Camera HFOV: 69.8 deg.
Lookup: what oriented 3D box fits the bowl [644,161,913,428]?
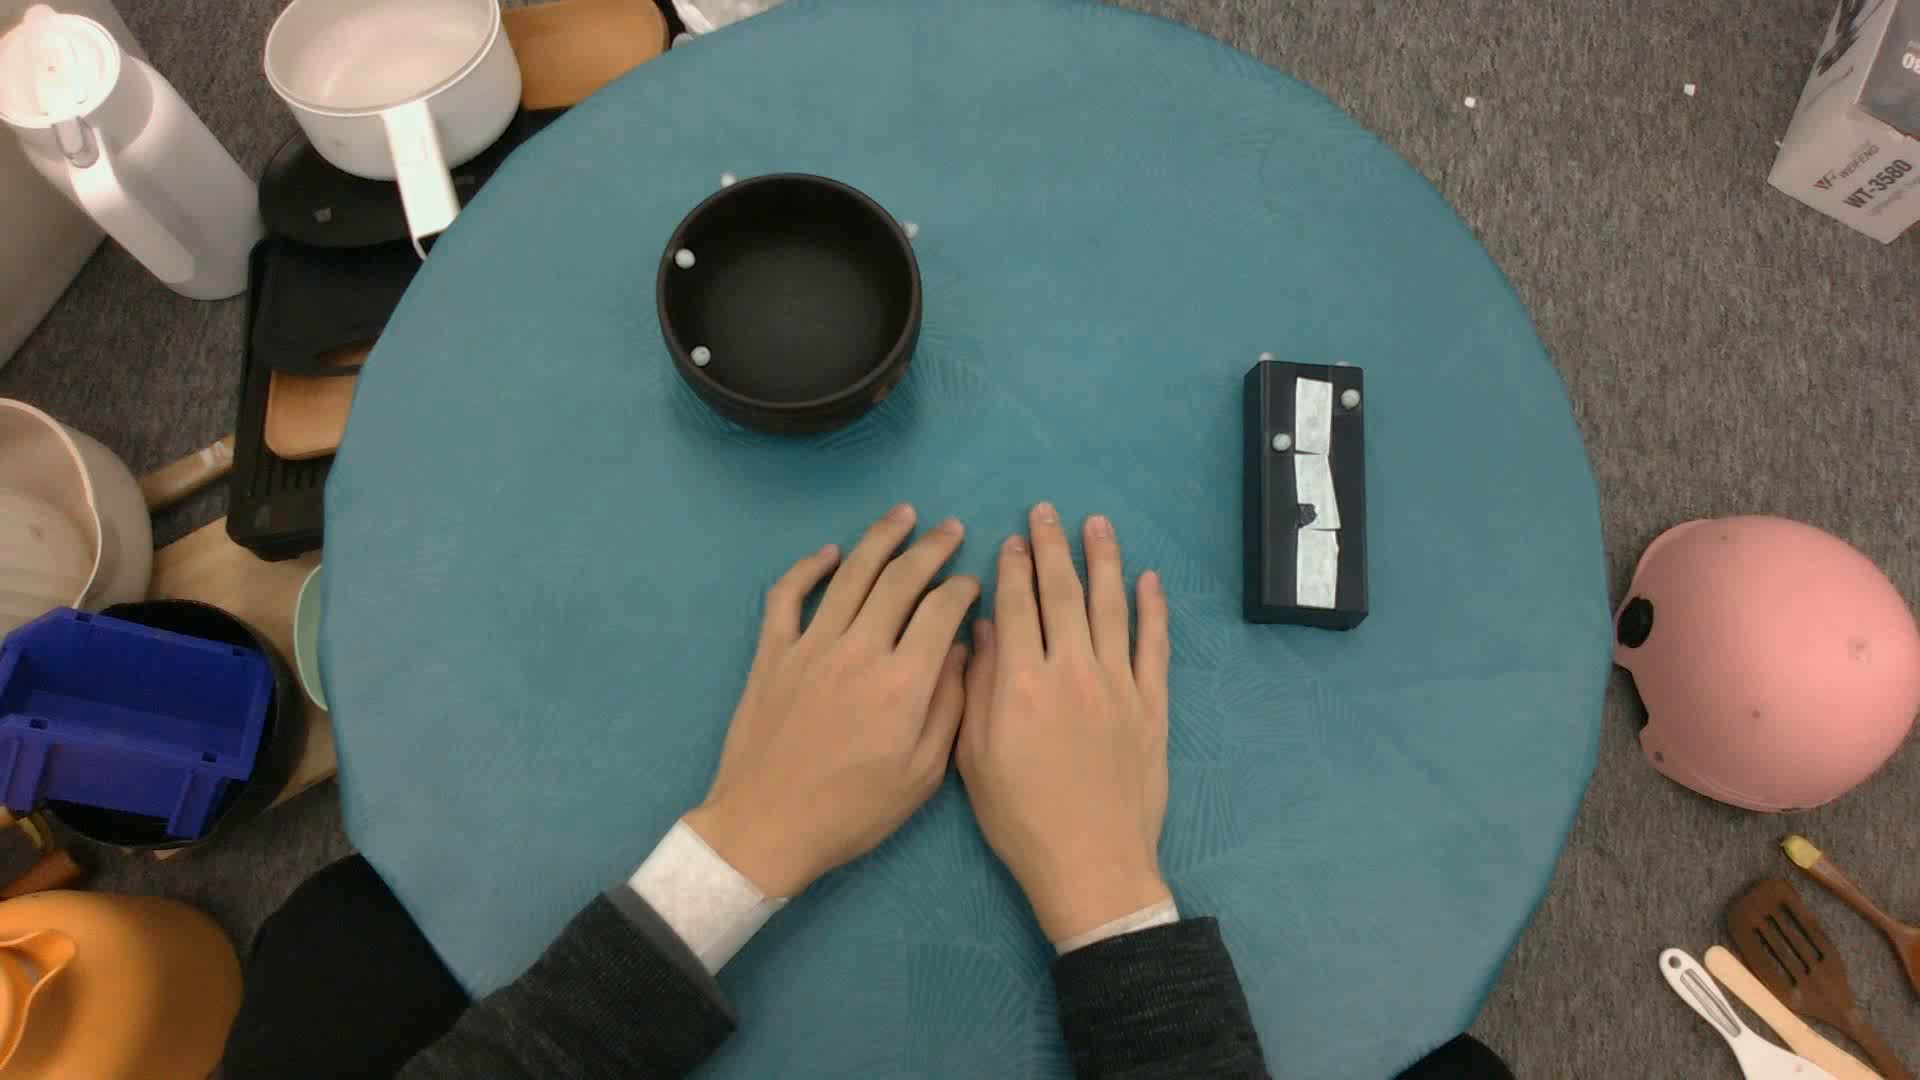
[{"bbox_3d":[-0.081,-0.106,0.631,0.118,0.069,0.118,1,75,-5],"label":"bowl"}]

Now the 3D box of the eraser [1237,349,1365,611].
[{"bbox_3d":[0.158,-0.029,0.649,0.053,0.030,0.126,2,74,-1],"label":"eraser"}]
